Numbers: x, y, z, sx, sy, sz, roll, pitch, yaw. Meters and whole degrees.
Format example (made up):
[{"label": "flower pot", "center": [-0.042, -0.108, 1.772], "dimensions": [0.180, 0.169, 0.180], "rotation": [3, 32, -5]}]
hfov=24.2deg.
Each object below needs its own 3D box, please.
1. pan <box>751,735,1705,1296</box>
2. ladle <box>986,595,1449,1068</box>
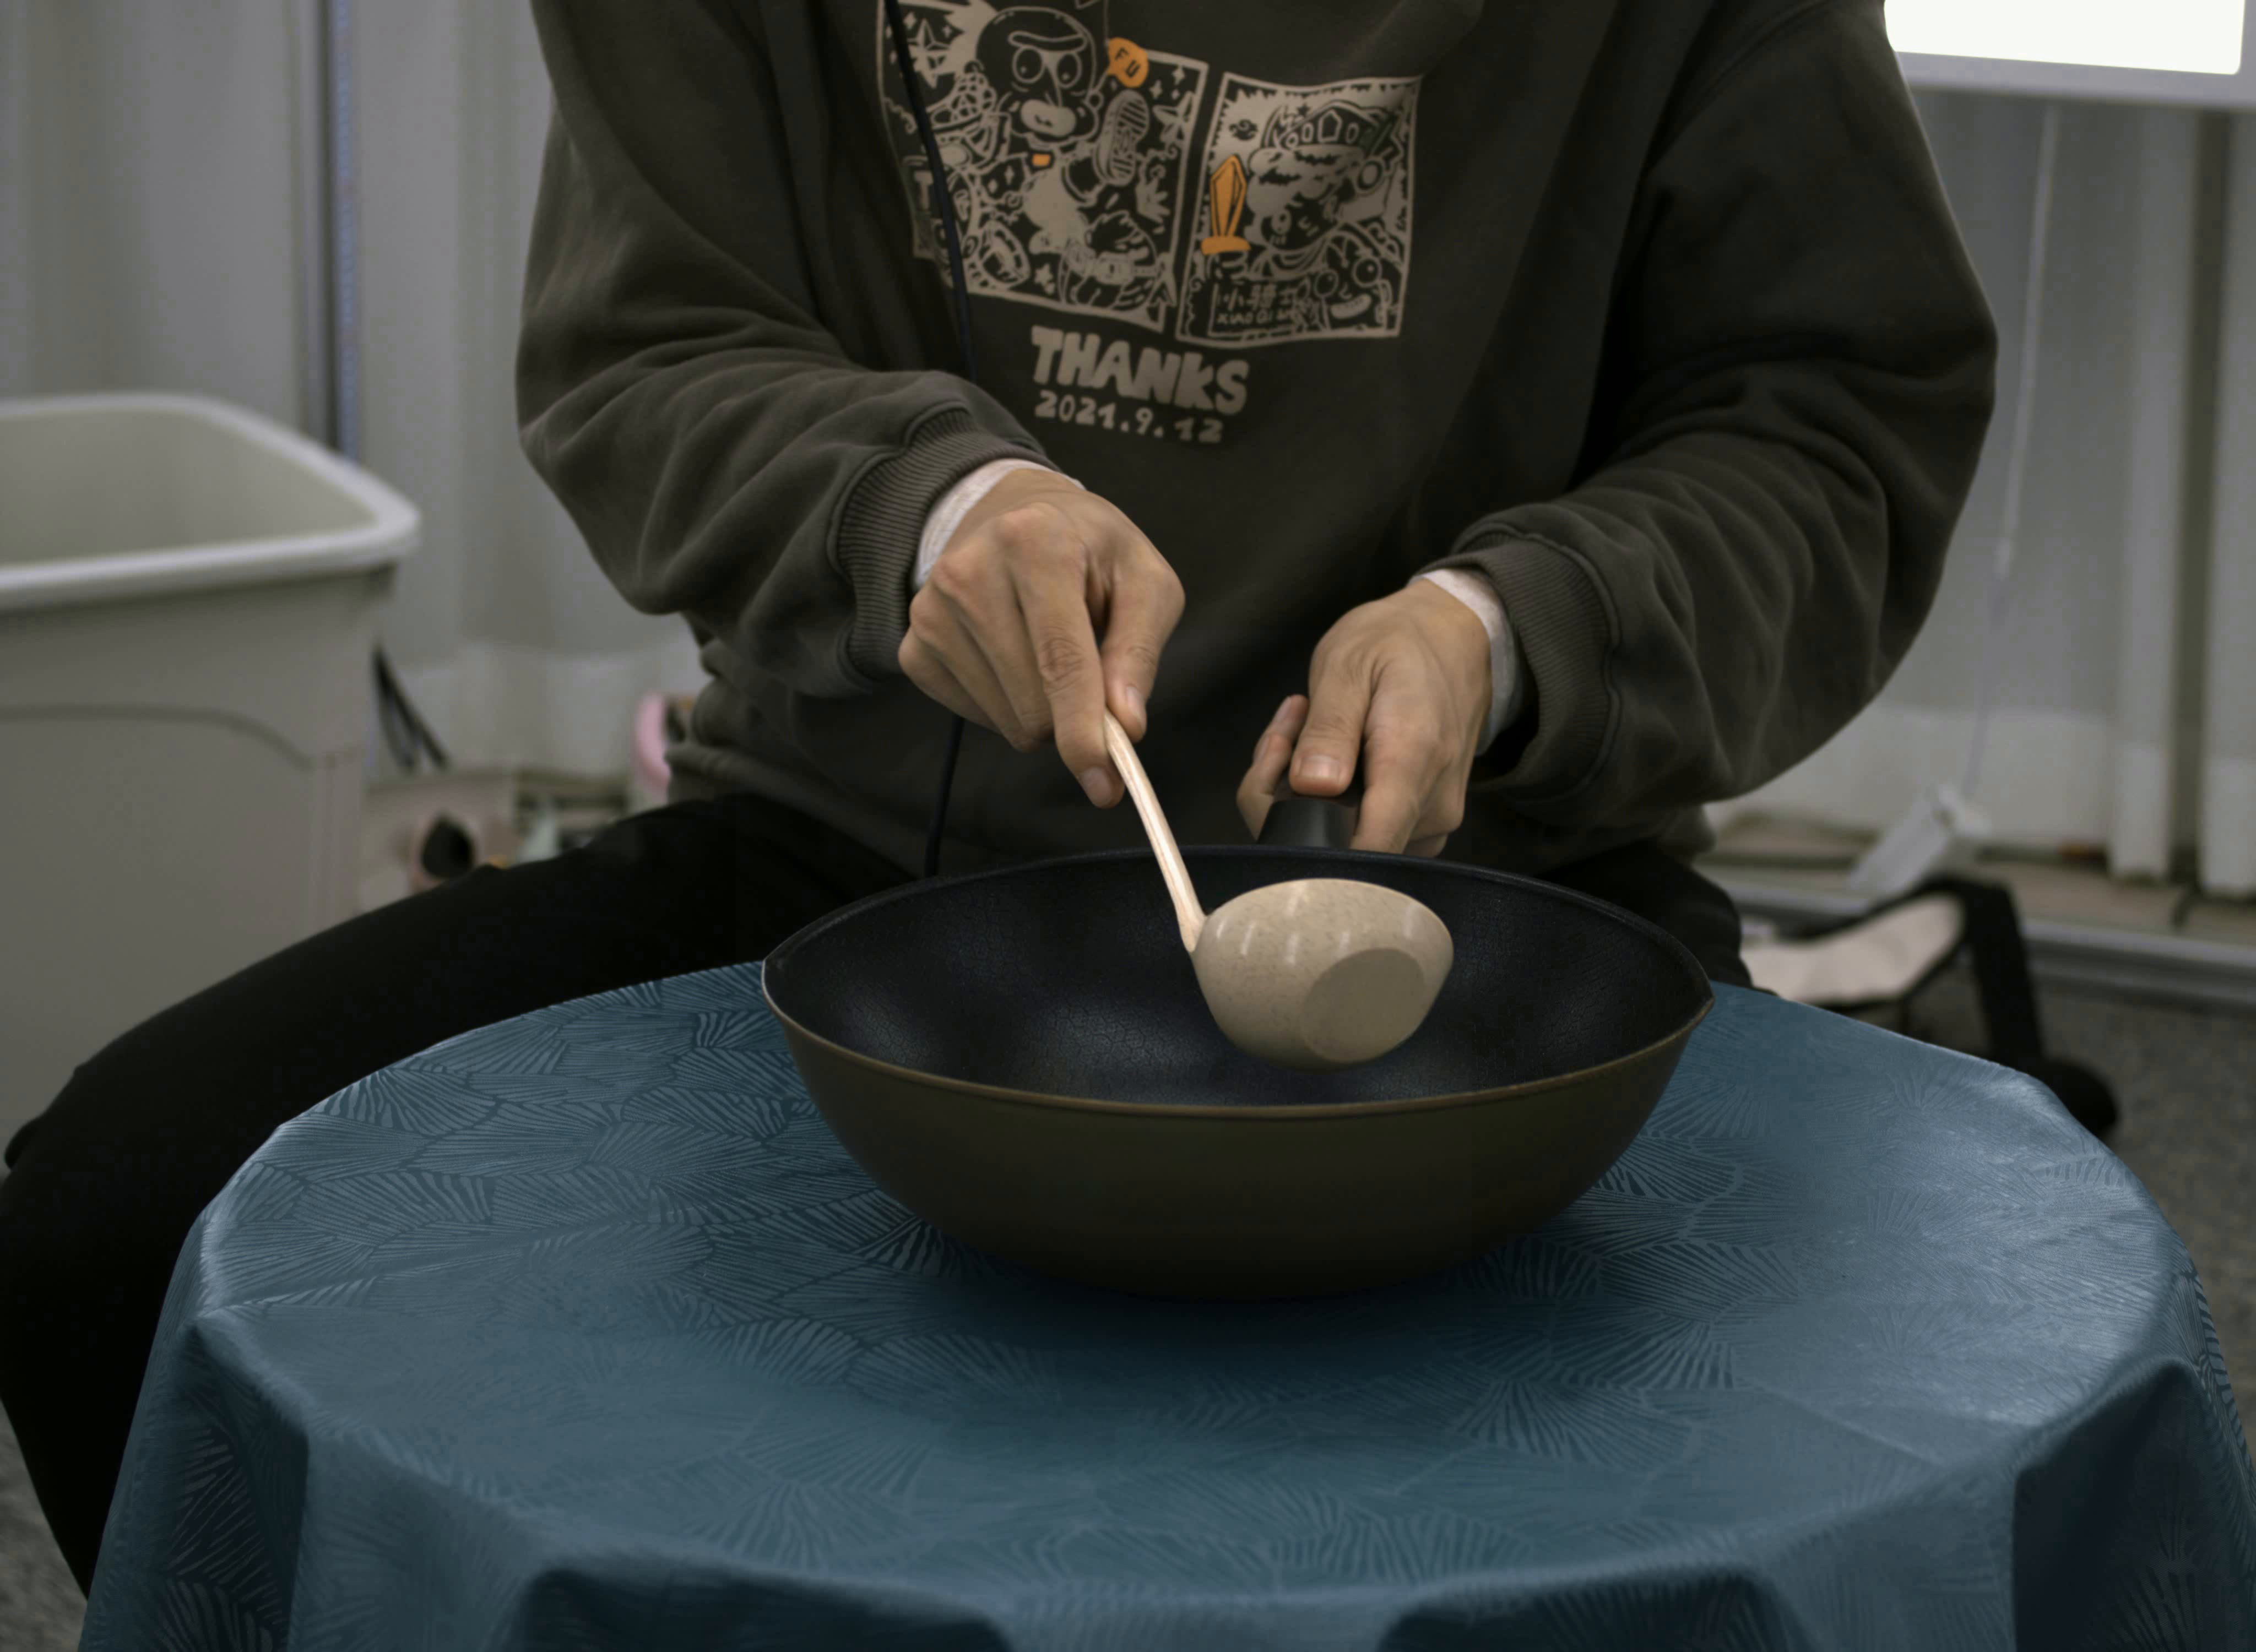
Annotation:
[{"label": "pan", "center": [0.043, 0.057, 1.677], "dimensions": [0.286, 0.087, 0.462], "rotation": [3, 14, 8]}, {"label": "ladle", "center": [0.024, -0.021, 1.611], "dimensions": [0.073, 0.073, 0.251], "rotation": [35, 18, -41]}]
